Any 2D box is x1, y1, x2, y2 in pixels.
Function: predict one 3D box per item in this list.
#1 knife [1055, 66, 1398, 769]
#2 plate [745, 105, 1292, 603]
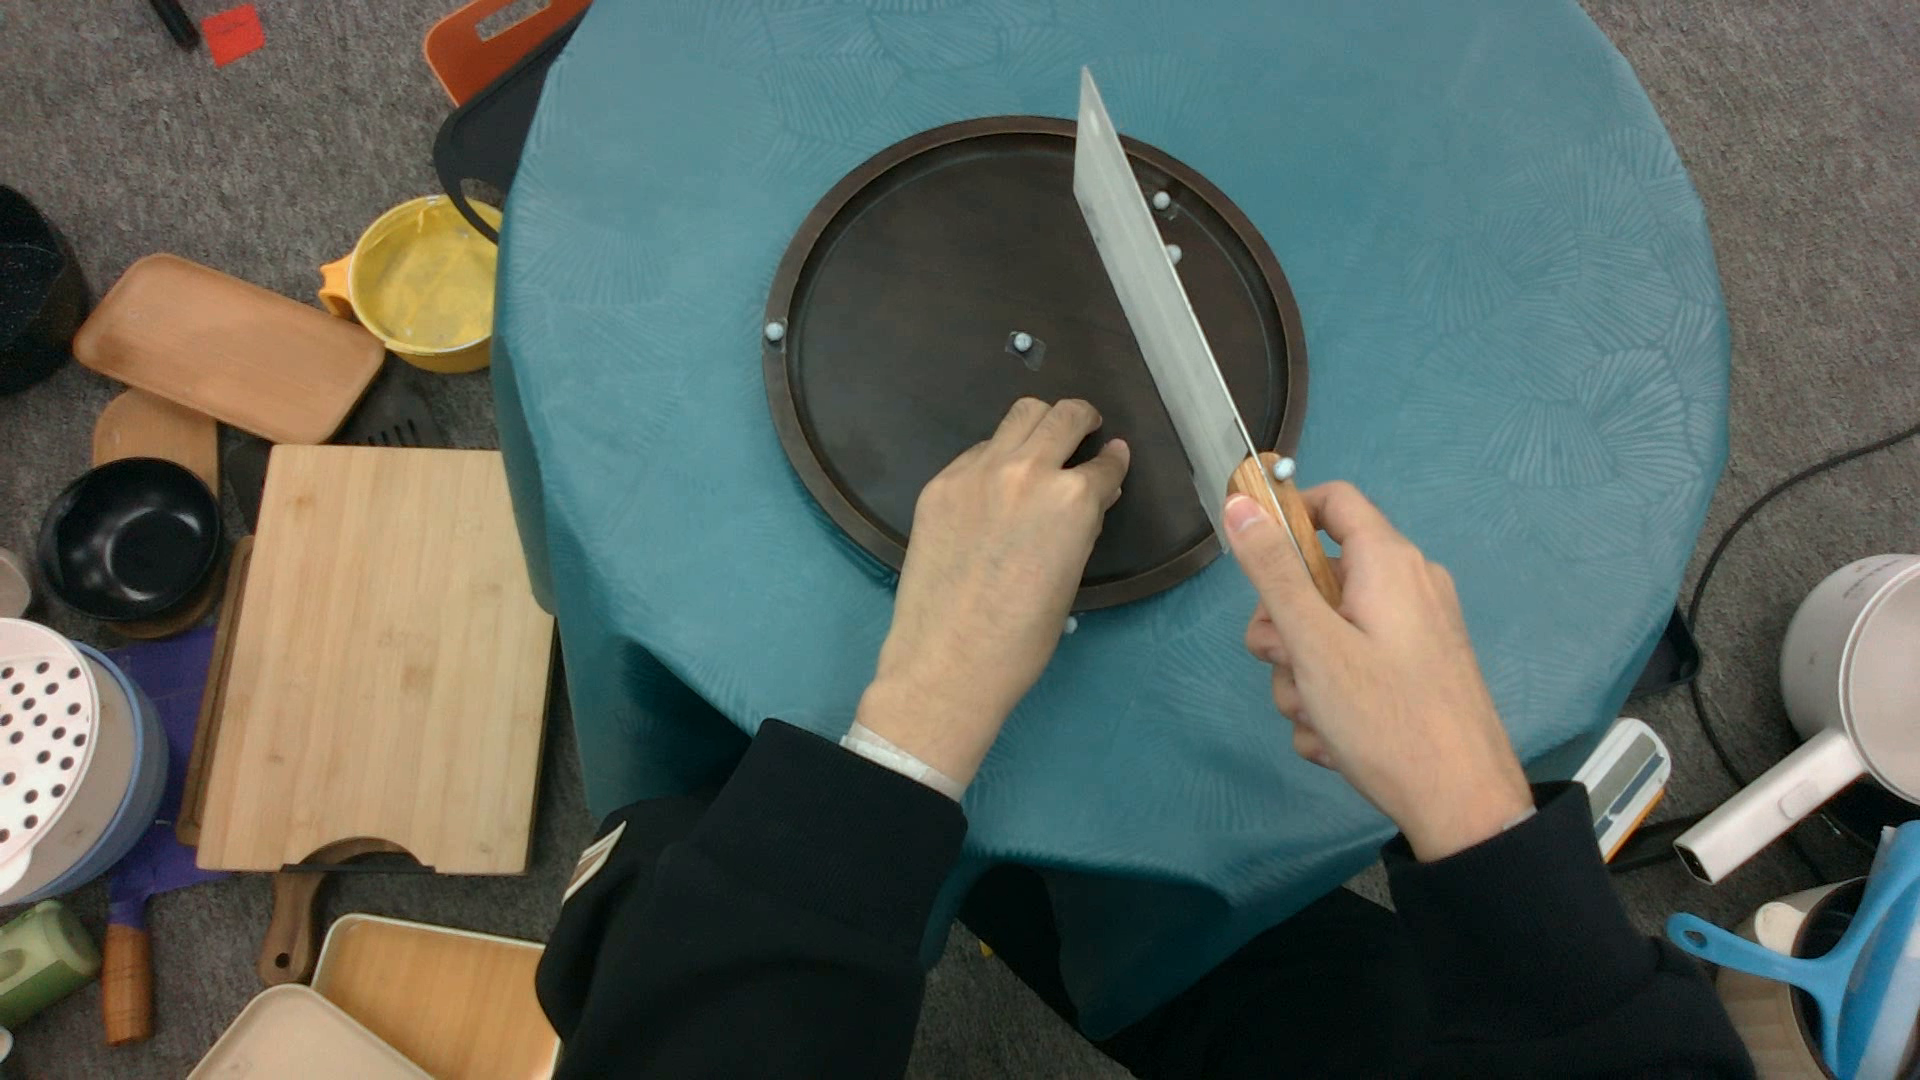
[{"bbox_3d":[0.094,-0.048,0.554,0.021,0.092,0.306,-19,71,-5],"label":"knife"},{"bbox_3d":[0.028,-0.091,0.638,0.255,0.029,0.255,1,70,-3],"label":"plate"}]
